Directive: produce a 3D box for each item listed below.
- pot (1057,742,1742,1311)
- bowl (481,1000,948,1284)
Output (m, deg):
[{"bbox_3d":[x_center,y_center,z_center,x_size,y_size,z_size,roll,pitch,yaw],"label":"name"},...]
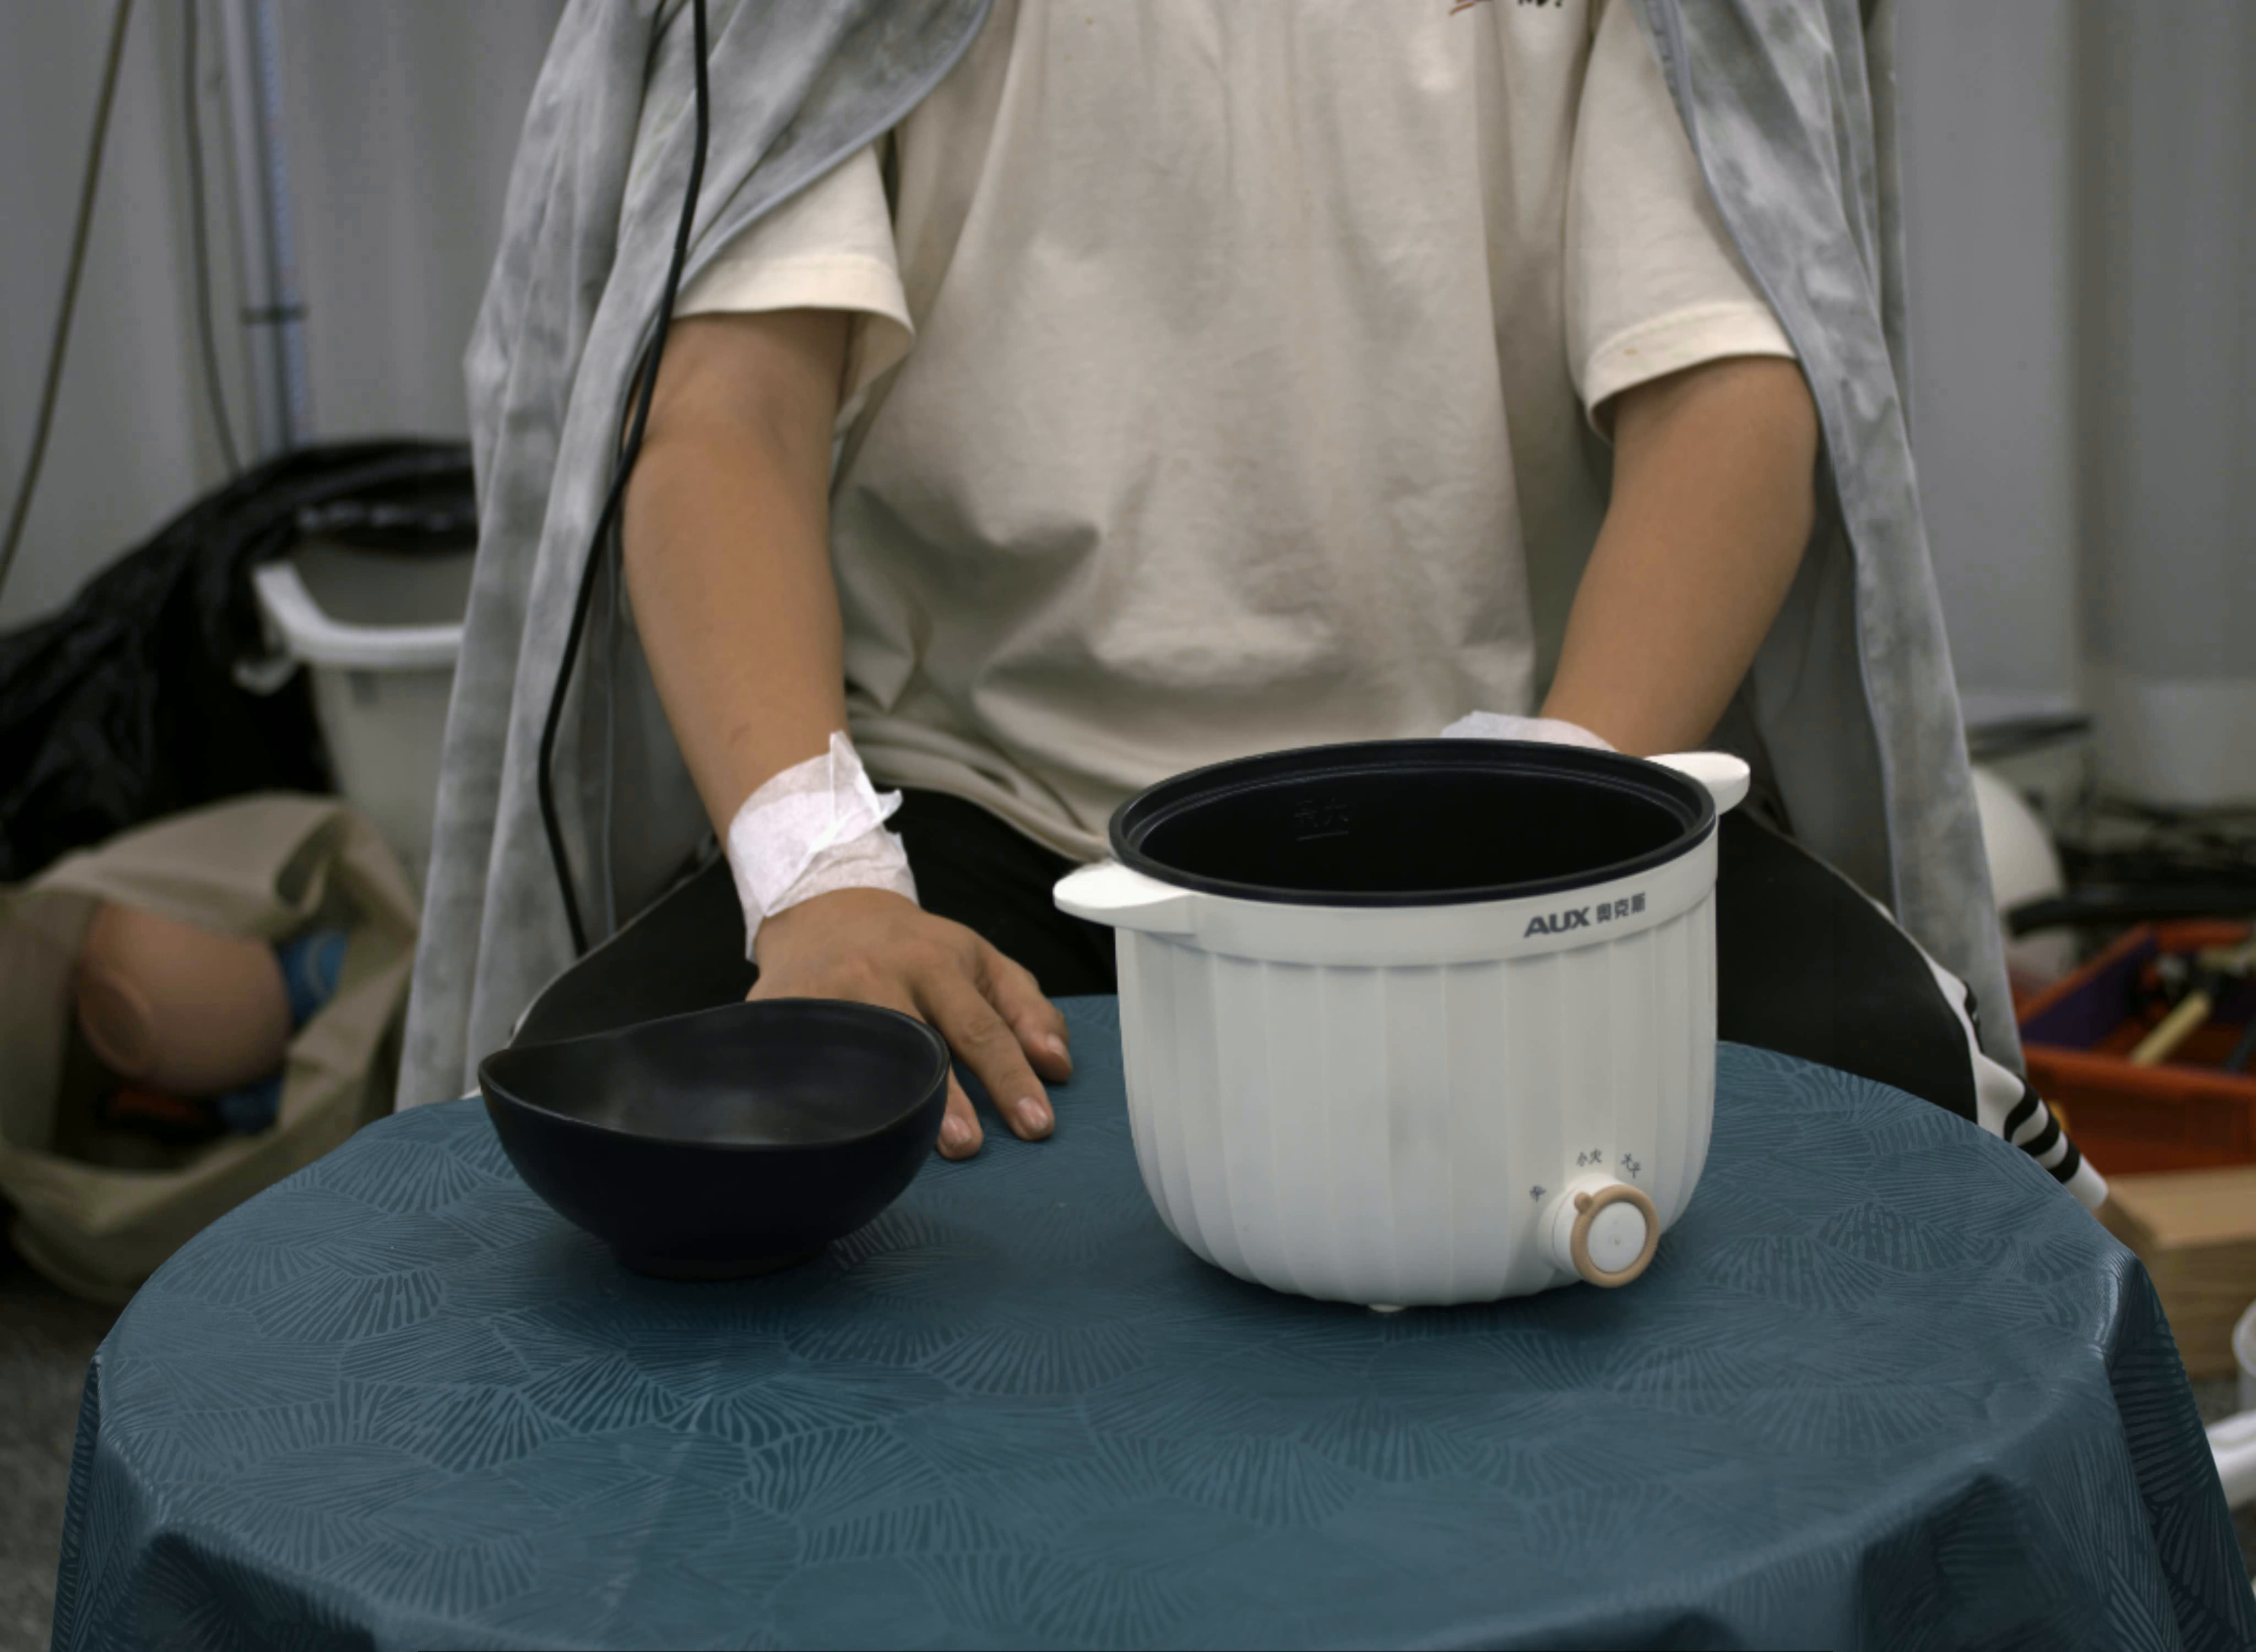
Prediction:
[{"bbox_3d":[0.091,0.061,1.637,0.239,0.142,0.191,-12,14,-30],"label":"pot"},{"bbox_3d":[-0.127,0.100,1.674,0.137,0.066,0.171,-10,15,-30],"label":"bowl"}]
